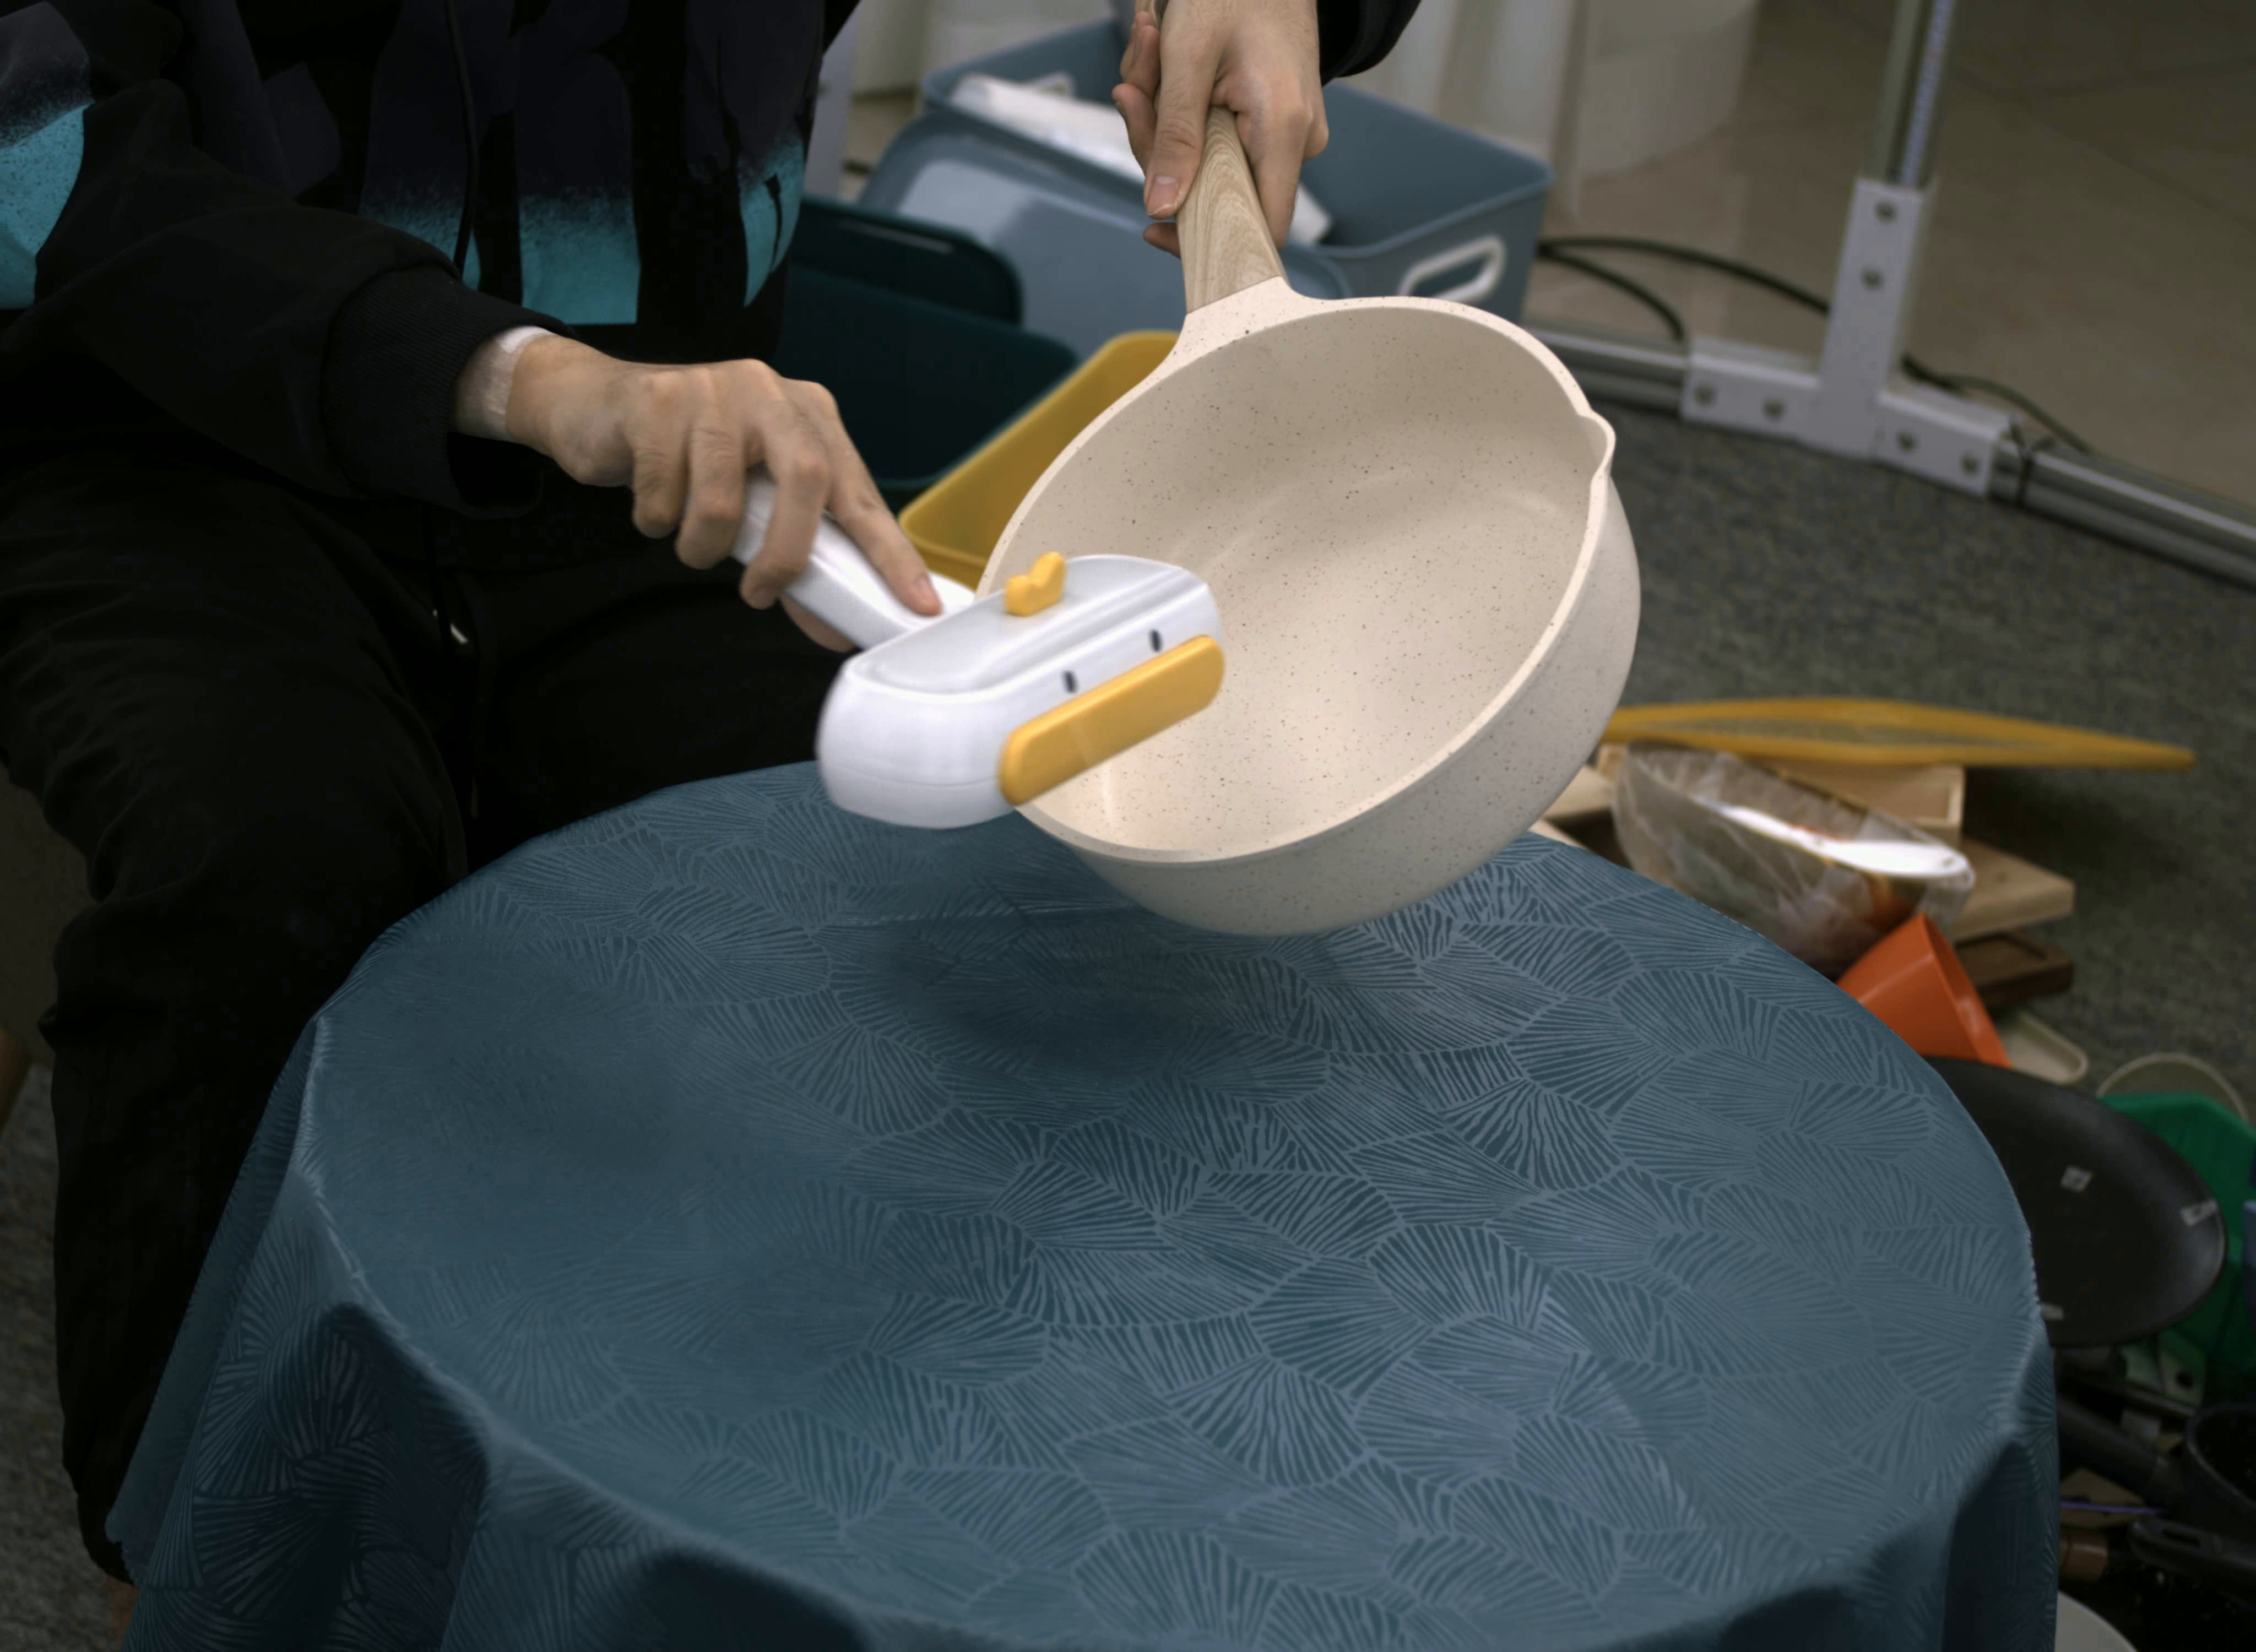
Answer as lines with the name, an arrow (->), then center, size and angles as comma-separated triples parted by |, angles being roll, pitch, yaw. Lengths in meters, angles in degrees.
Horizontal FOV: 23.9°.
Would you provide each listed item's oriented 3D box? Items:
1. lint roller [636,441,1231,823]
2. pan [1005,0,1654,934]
lint roller -> -0.082, -0.075, 1.793 | 0.193, 0.074, 0.192 | 20, 30, 21
pan -> 0.061, -0.142, 1.972 | 0.263, 0.101, 0.439 | -24, 45, 17
